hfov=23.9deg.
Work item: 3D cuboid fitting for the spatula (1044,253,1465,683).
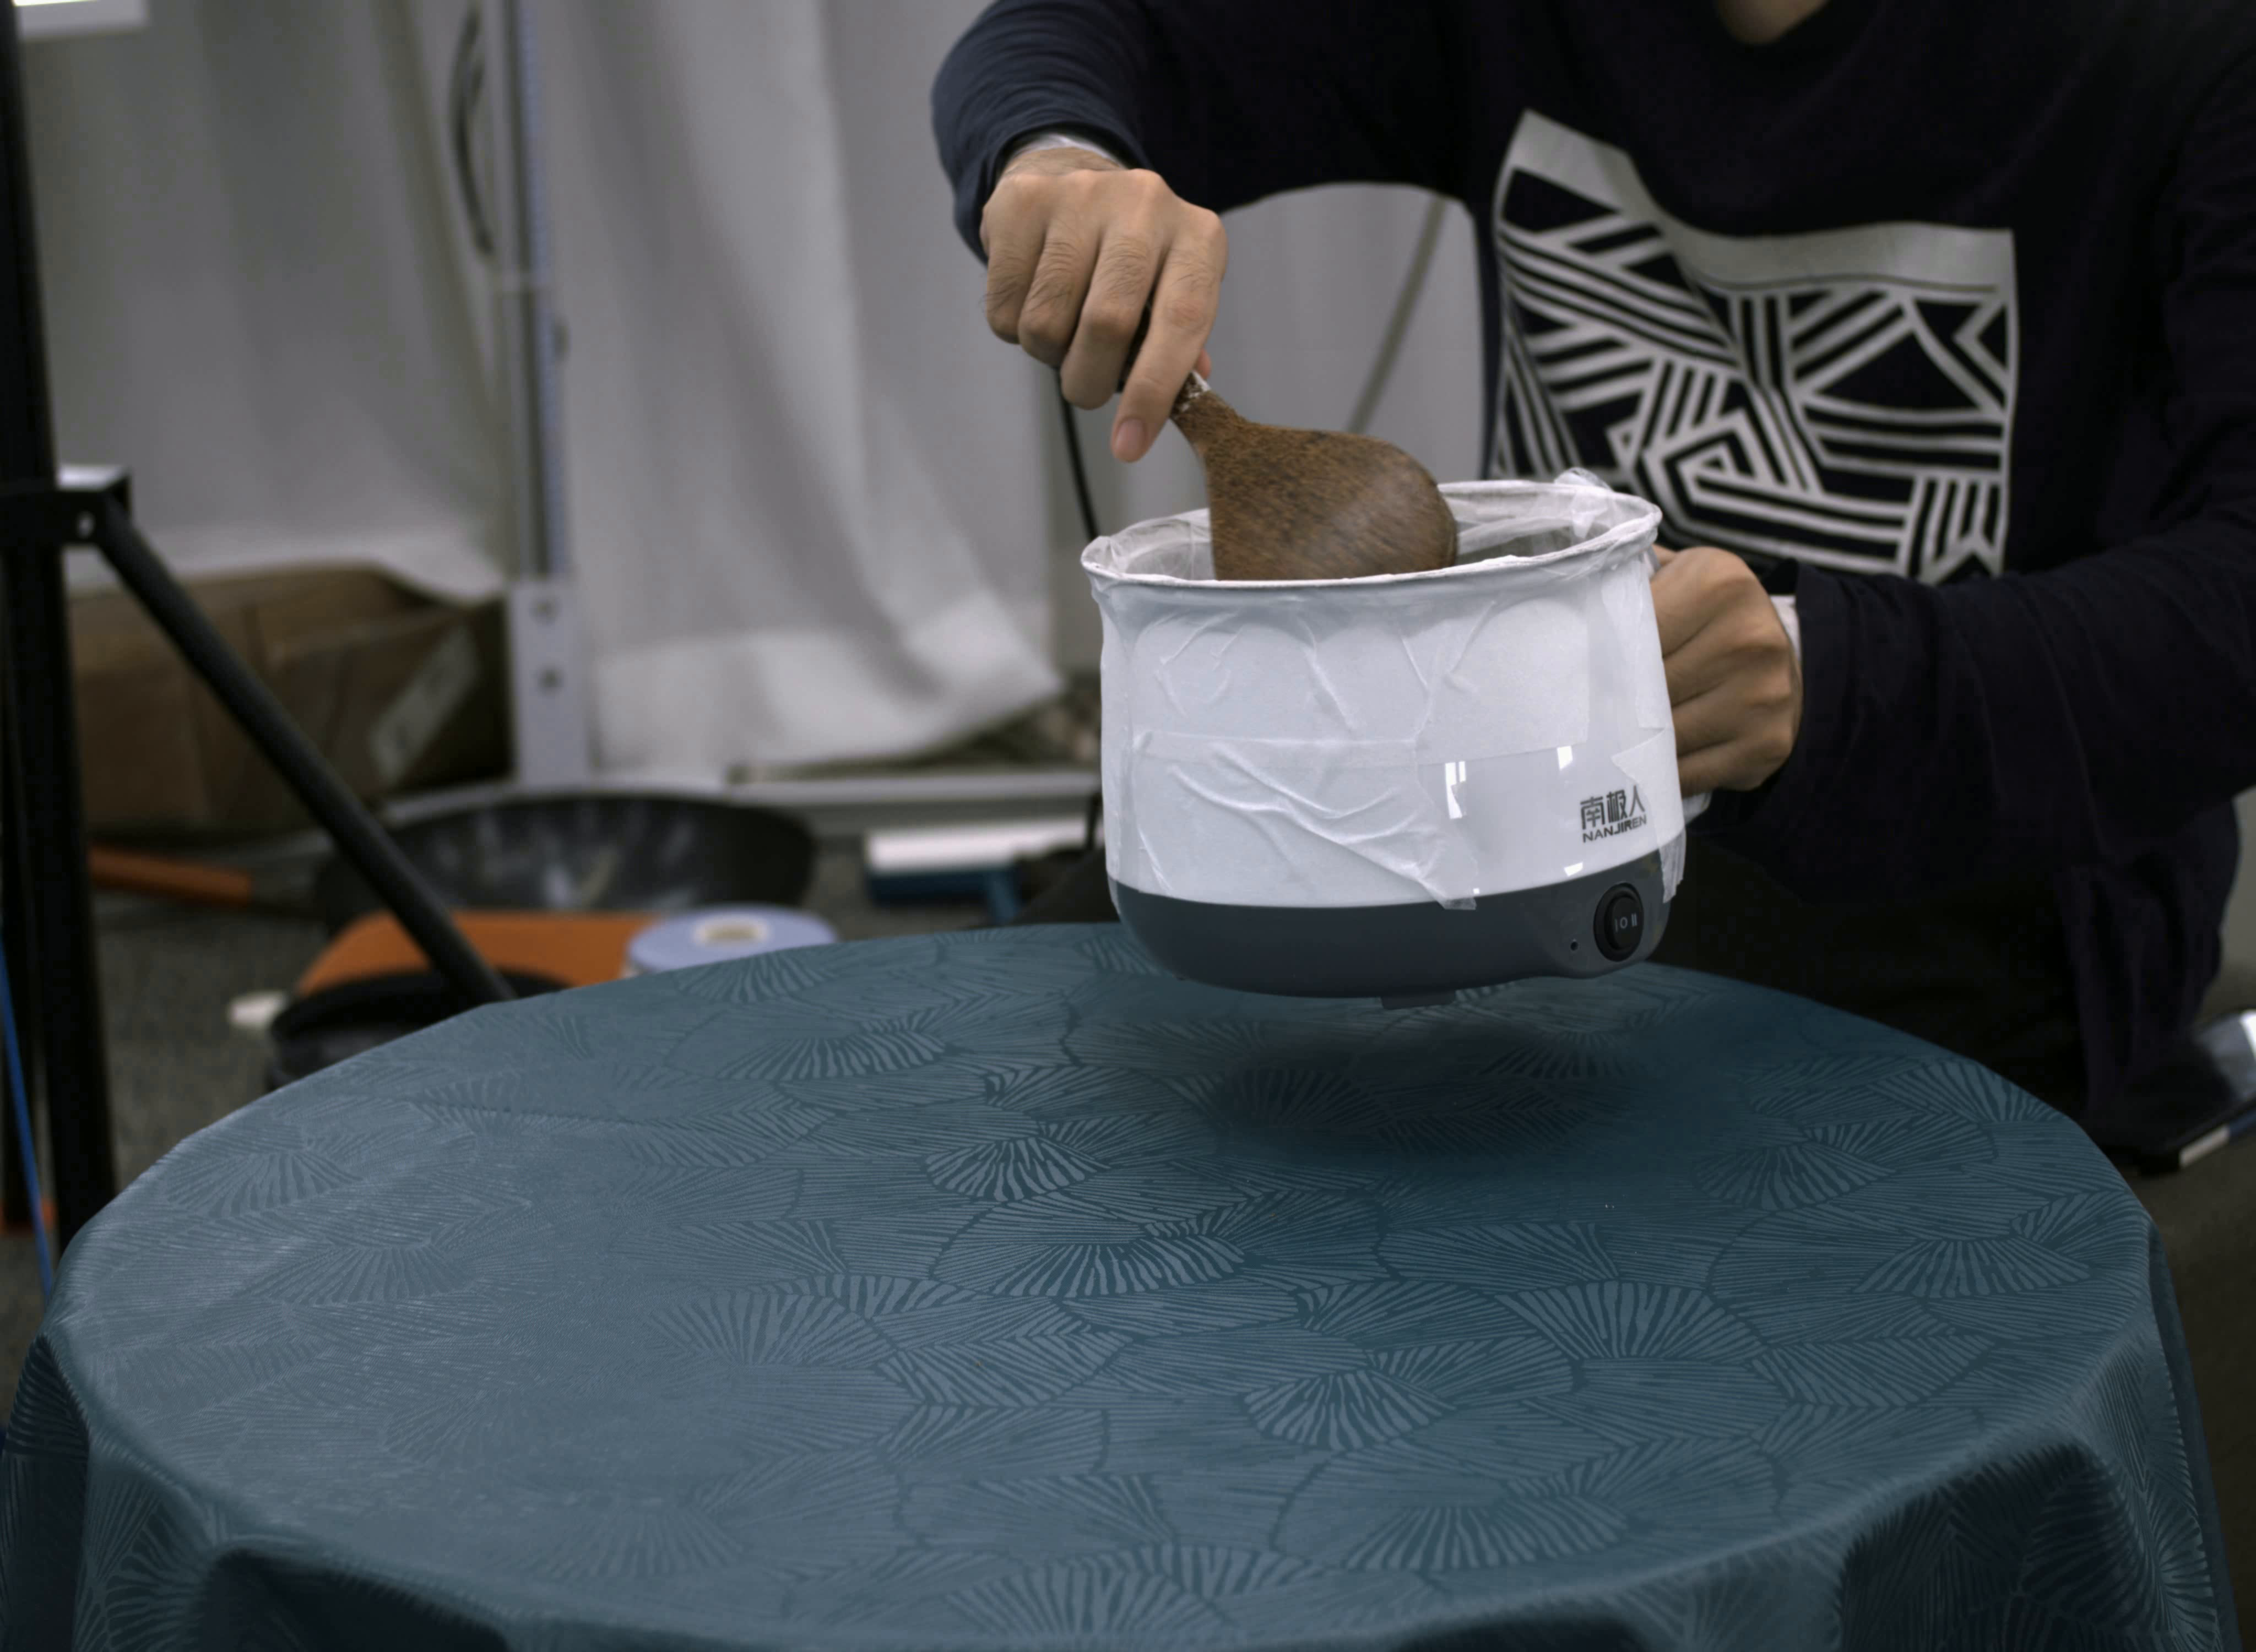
[{"bbox_3d":[0.032,-0.118,1.609,0.009,0.072,0.220,37,9,-46],"label":"spatula"}]

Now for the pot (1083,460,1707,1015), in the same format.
[{"bbox_3d":[0.096,-0.033,1.637,0.182,0.136,0.228,9,18,42],"label":"pot"}]
